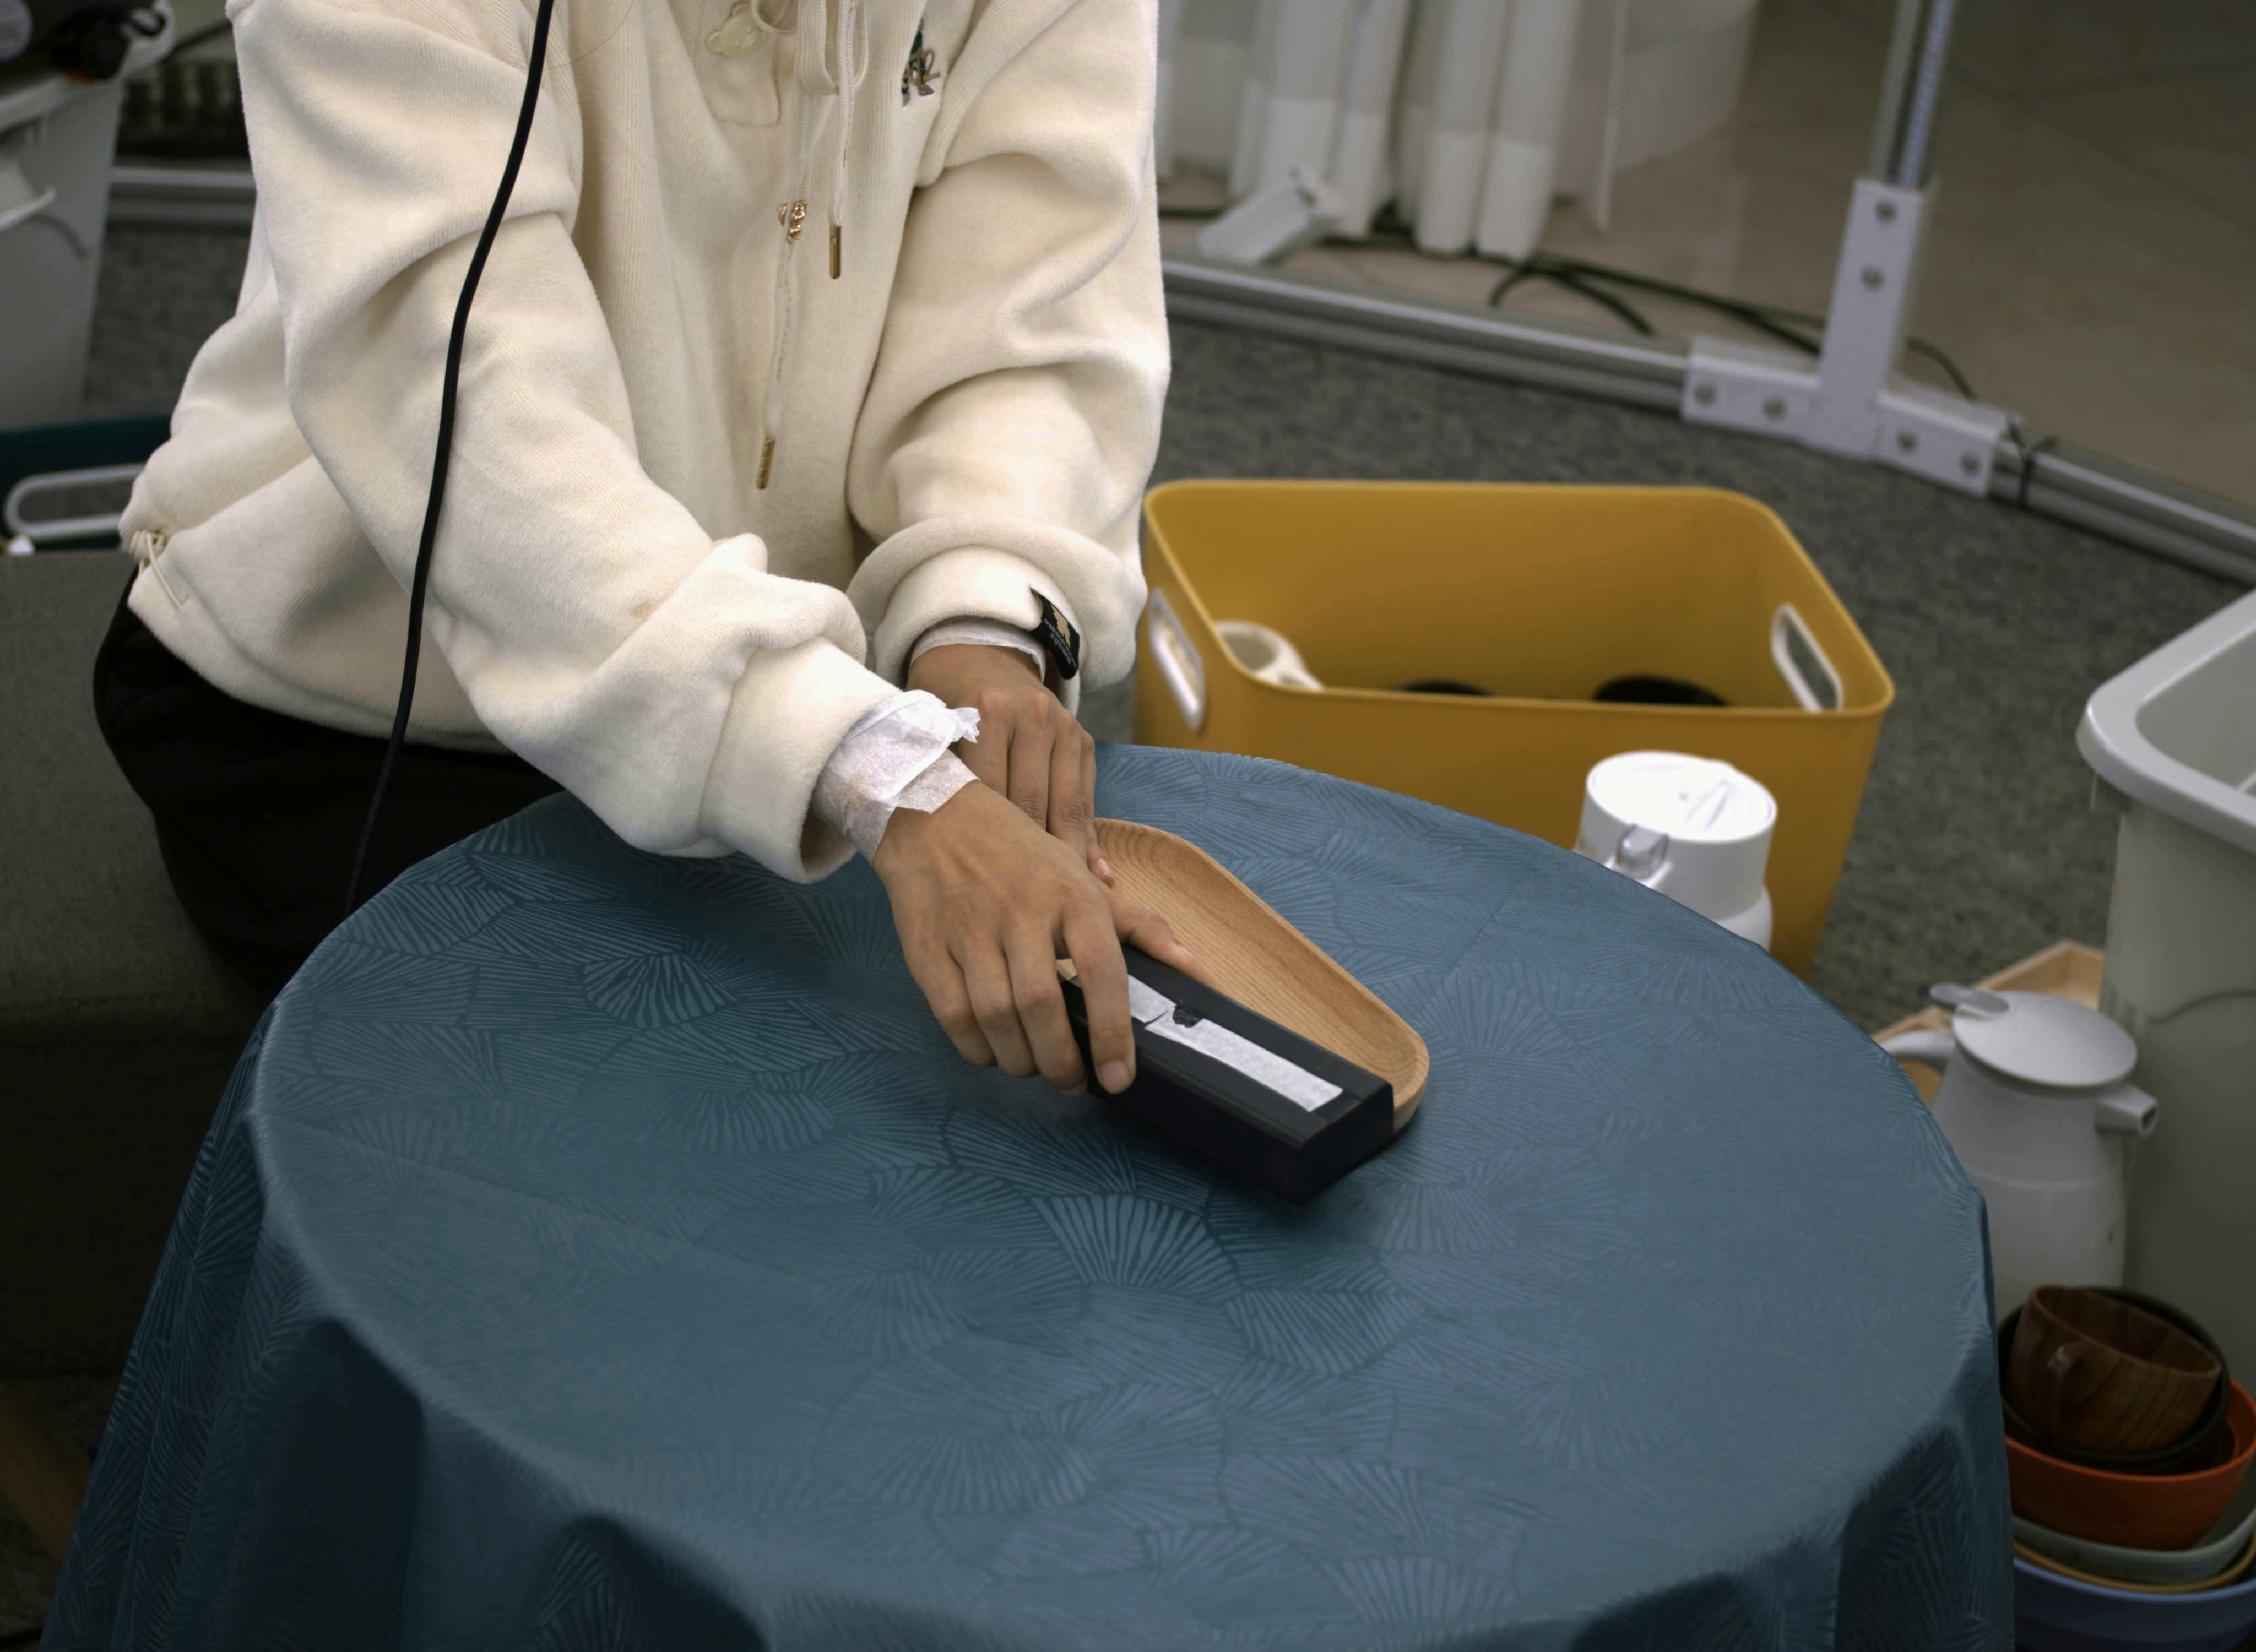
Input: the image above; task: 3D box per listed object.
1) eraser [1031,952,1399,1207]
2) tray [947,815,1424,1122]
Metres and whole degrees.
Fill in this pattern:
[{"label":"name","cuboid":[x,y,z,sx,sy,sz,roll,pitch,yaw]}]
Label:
[{"label":"eraser","cuboid":[0.029,0.086,1.822,0.126,0.030,0.053,27,36,32]},{"label":"tray","cuboid":[0.018,0.054,1.925,0.101,0.020,0.233,-11,30,-31]}]
